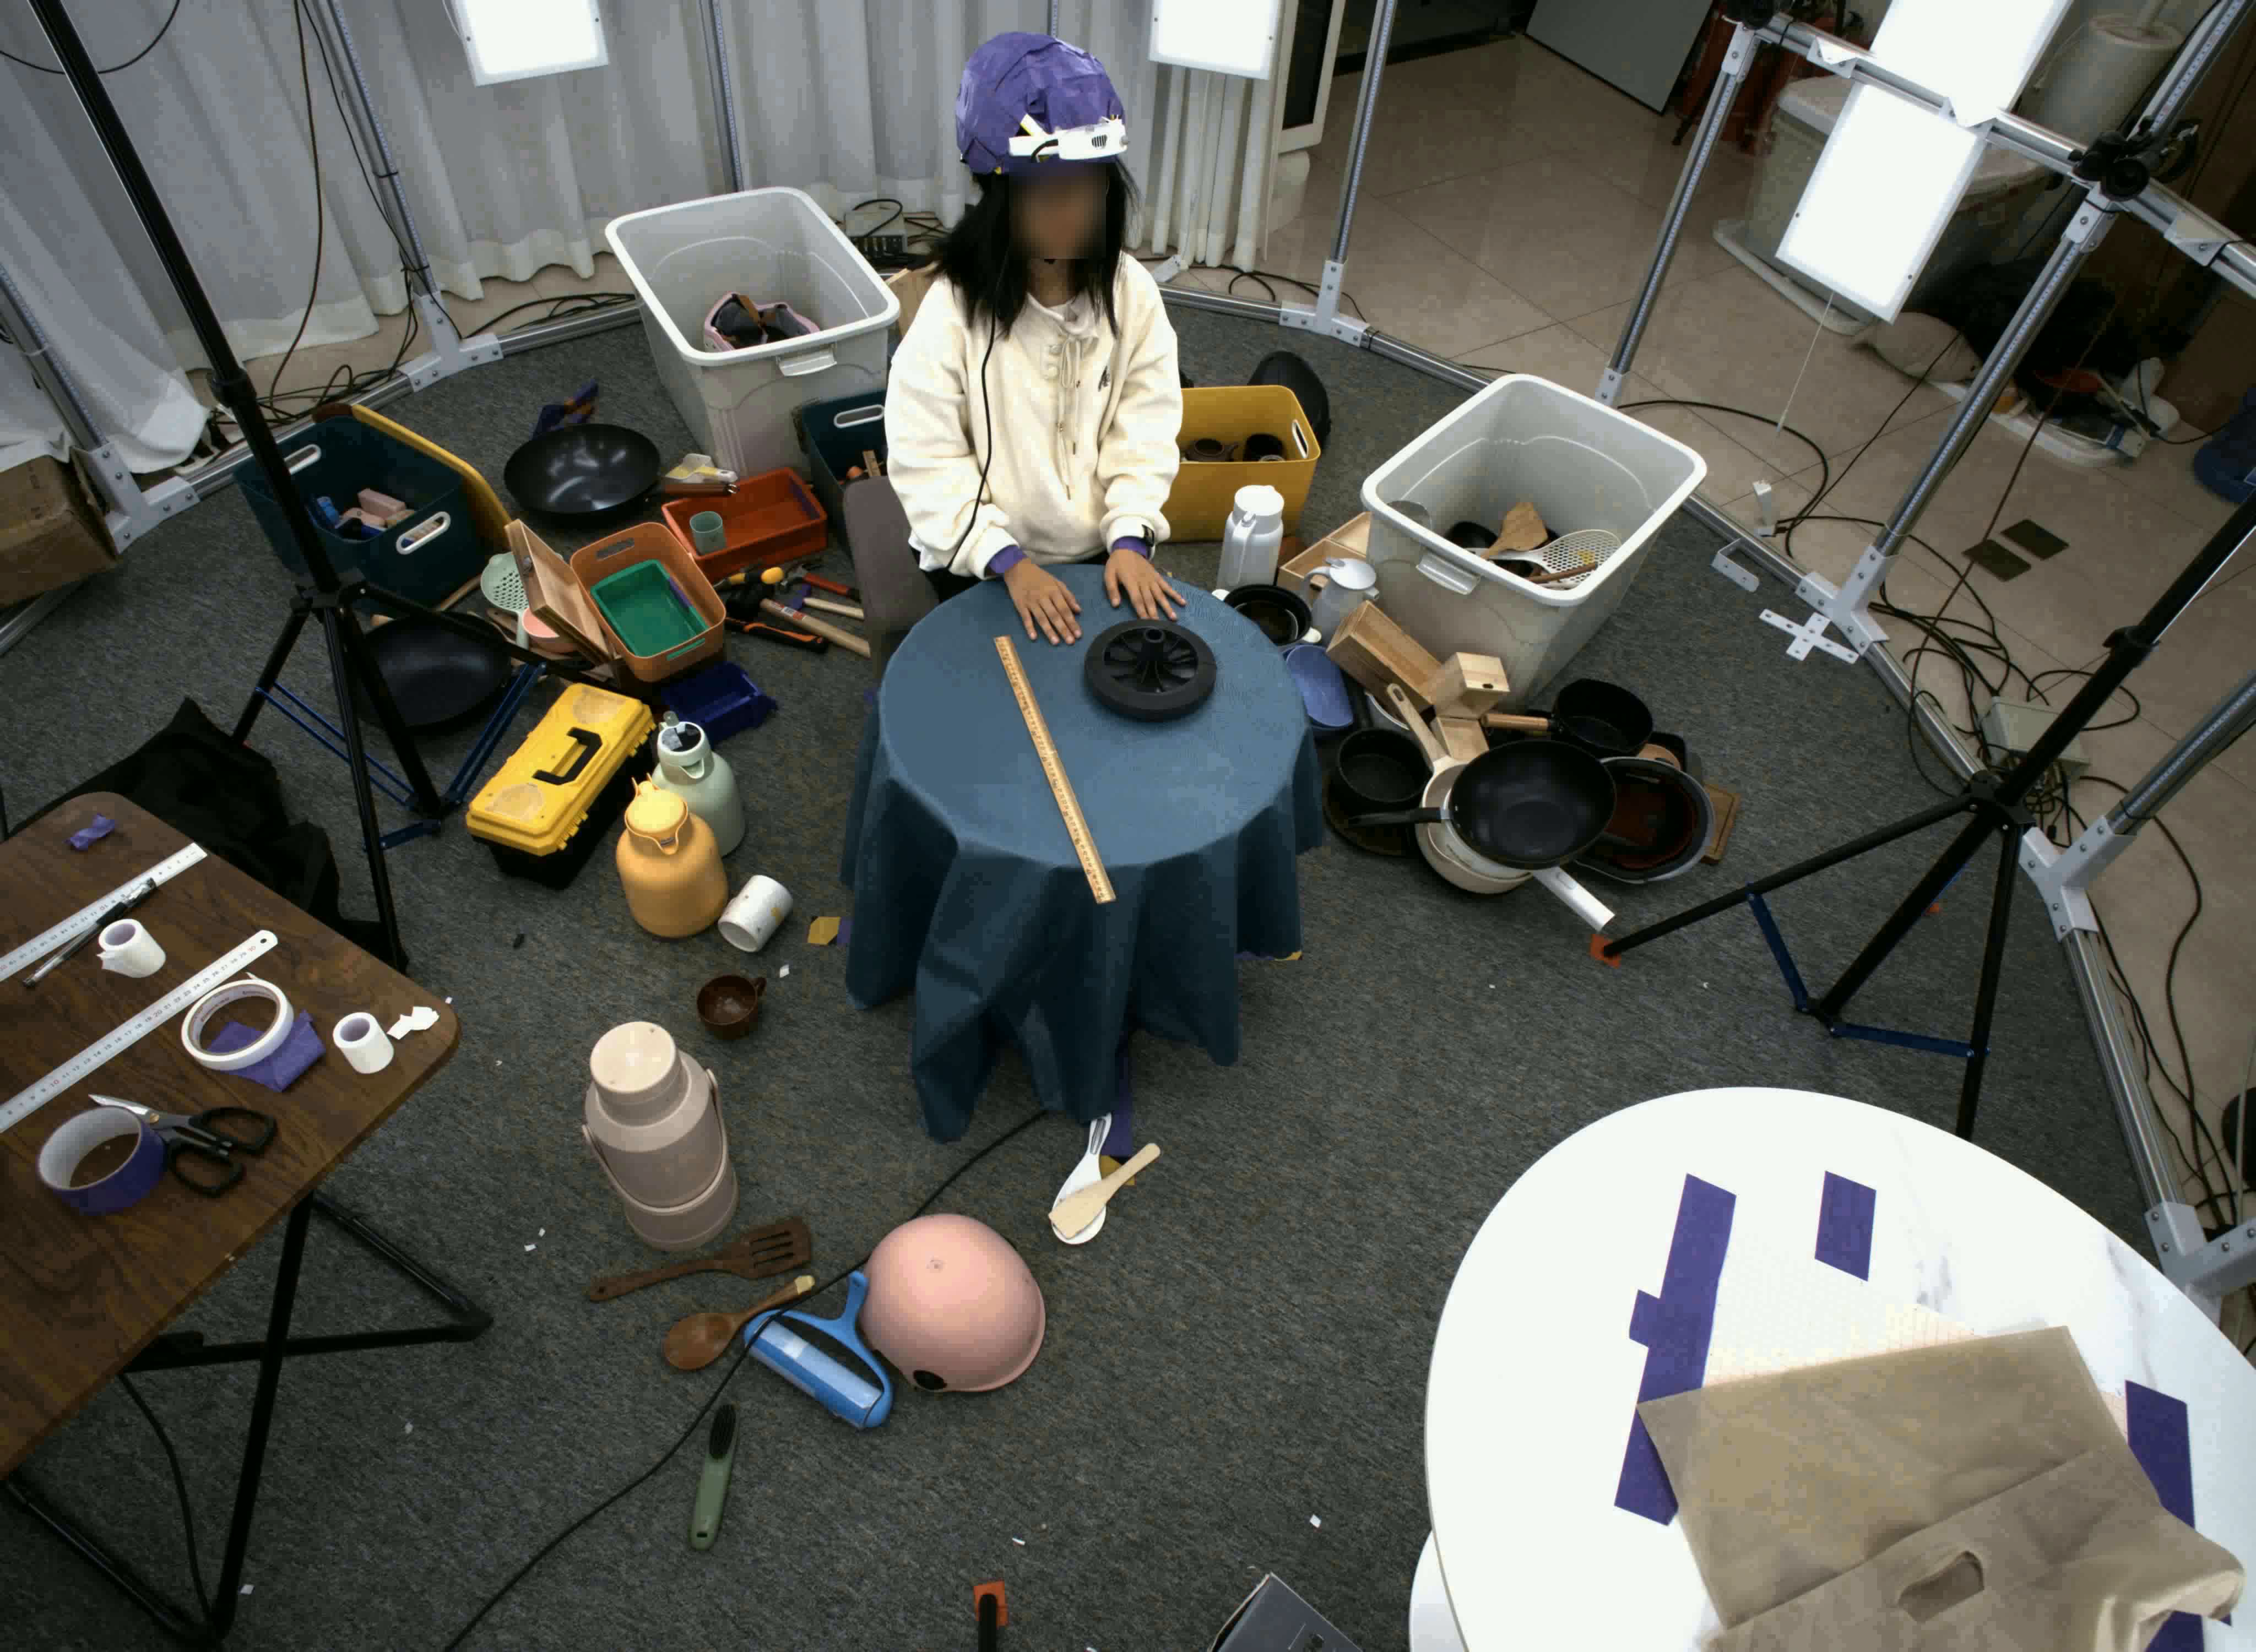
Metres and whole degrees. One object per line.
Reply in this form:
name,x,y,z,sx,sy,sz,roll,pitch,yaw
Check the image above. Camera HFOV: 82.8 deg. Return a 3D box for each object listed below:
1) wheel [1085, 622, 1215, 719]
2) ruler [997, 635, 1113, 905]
wheel,0.034,-0.240,1.831,0.189,0.077,0.192,31,54,22
ruler,-0.107,-0.092,1.739,0.027,0.006,0.513,-12,51,-13
